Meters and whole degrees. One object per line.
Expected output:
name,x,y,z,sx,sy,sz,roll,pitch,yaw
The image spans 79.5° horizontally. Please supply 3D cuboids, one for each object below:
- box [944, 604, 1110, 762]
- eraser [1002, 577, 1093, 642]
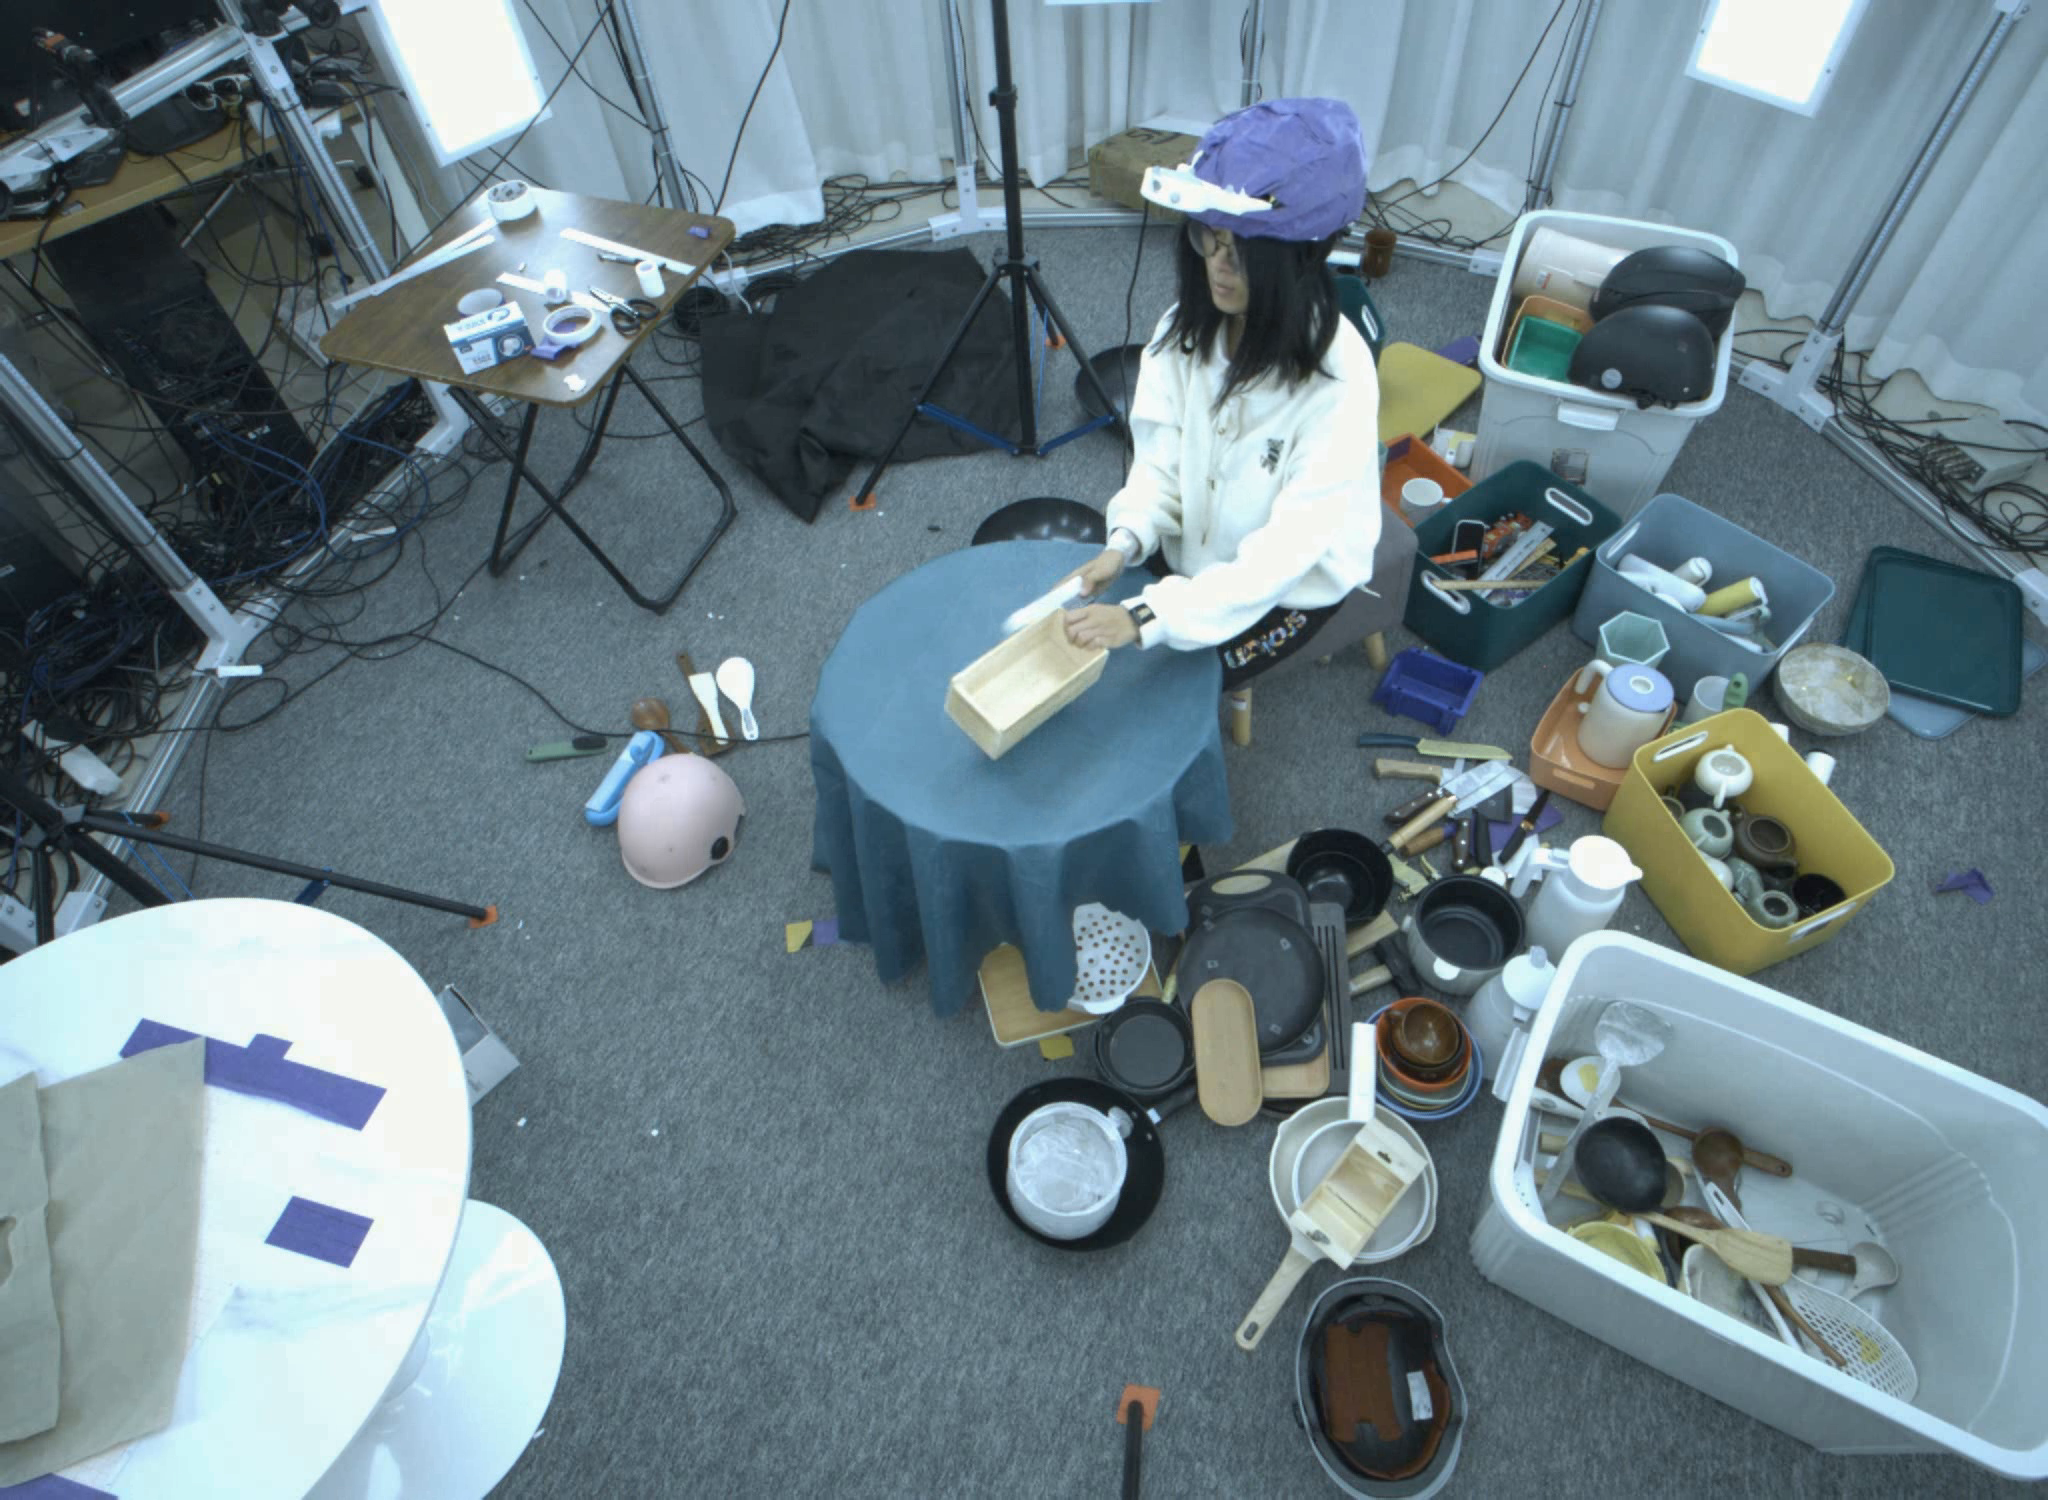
box,0.004,-0.096,1.727,0.106,0.080,0.213,45,63,11
eraser,0.036,-0.201,1.825,0.135,0.049,0.046,-34,83,-23
